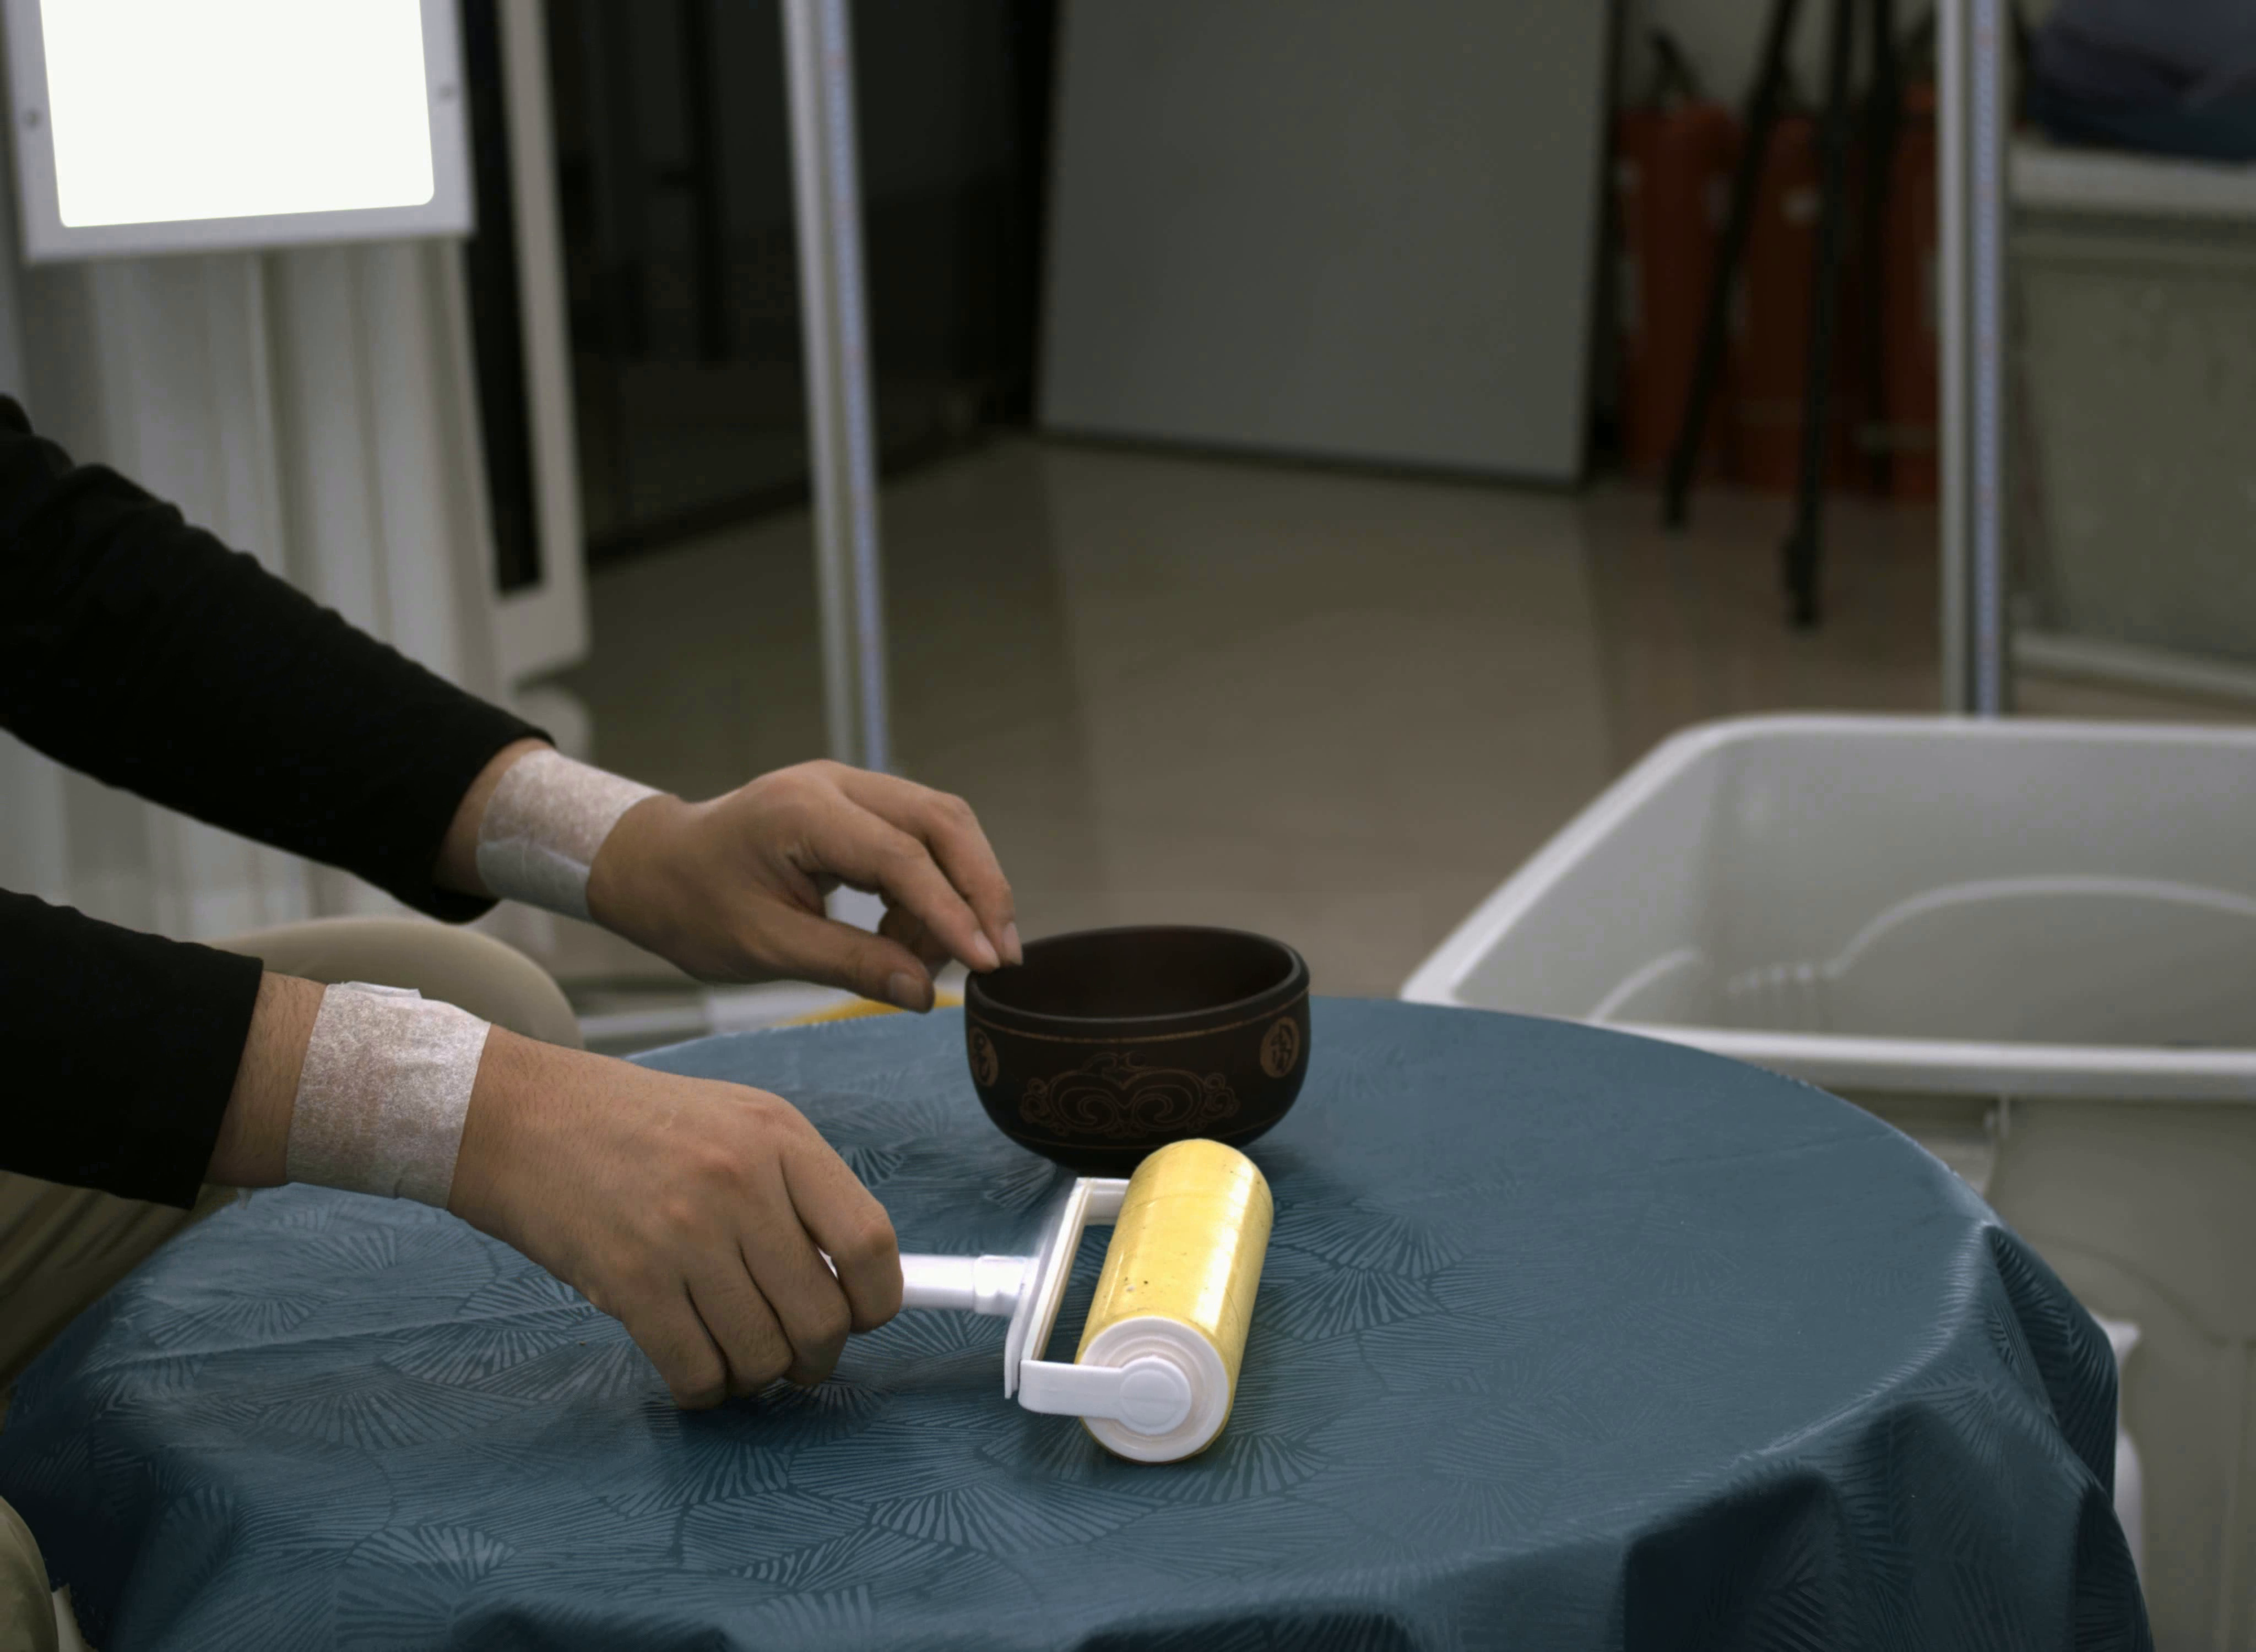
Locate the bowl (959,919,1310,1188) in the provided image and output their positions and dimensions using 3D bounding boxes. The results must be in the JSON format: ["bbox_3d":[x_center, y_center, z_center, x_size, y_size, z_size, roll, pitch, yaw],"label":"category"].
[{"bbox_3d":[0.003,0.078,1.785,0.116,0.070,0.118,-3,13,0],"label":"bowl"}]

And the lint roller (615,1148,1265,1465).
[{"bbox_3d":[-0.055,0.129,1.598,0.190,0.052,0.174,11,14,2],"label":"lint roller"}]
